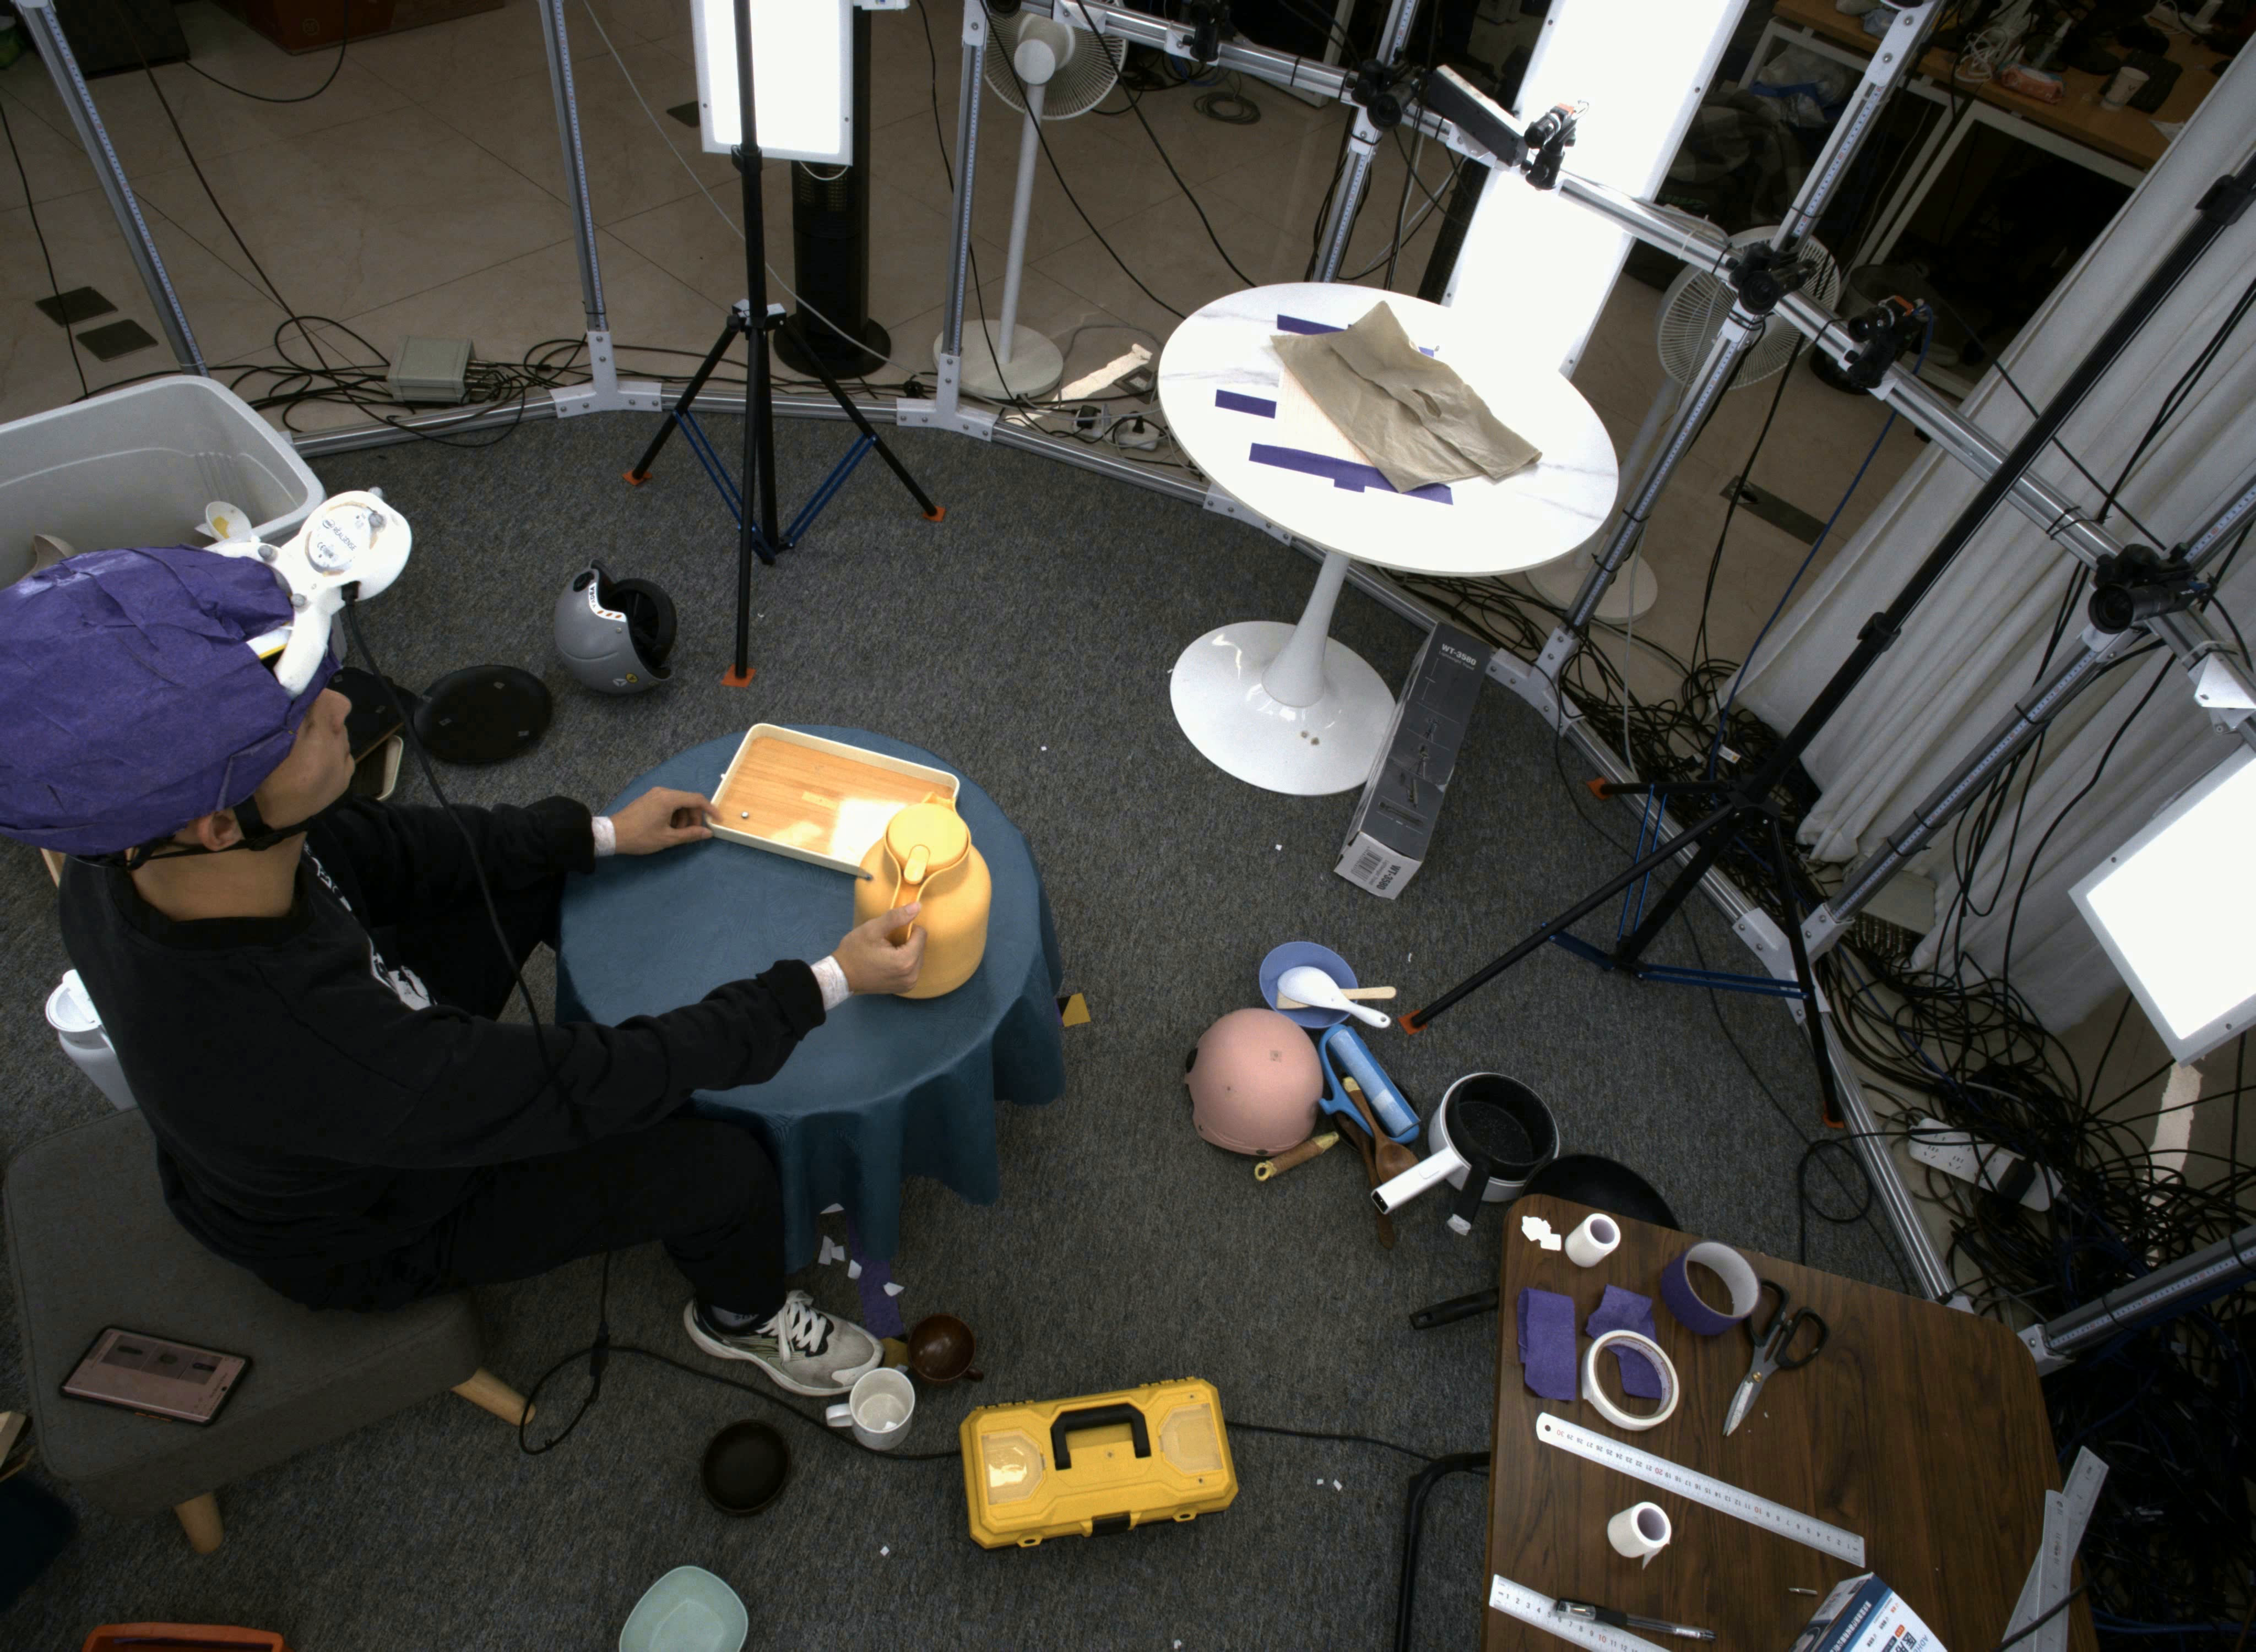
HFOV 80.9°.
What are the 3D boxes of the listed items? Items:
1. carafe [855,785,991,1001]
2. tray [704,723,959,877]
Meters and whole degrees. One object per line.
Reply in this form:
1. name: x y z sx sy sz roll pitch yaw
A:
1. carafe: -0.248 0.092 1.528 0.162 0.266 0.200 14 50 2
2. tray: -0.392 -0.029 1.734 0.298 0.028 0.189 16 51 -3
